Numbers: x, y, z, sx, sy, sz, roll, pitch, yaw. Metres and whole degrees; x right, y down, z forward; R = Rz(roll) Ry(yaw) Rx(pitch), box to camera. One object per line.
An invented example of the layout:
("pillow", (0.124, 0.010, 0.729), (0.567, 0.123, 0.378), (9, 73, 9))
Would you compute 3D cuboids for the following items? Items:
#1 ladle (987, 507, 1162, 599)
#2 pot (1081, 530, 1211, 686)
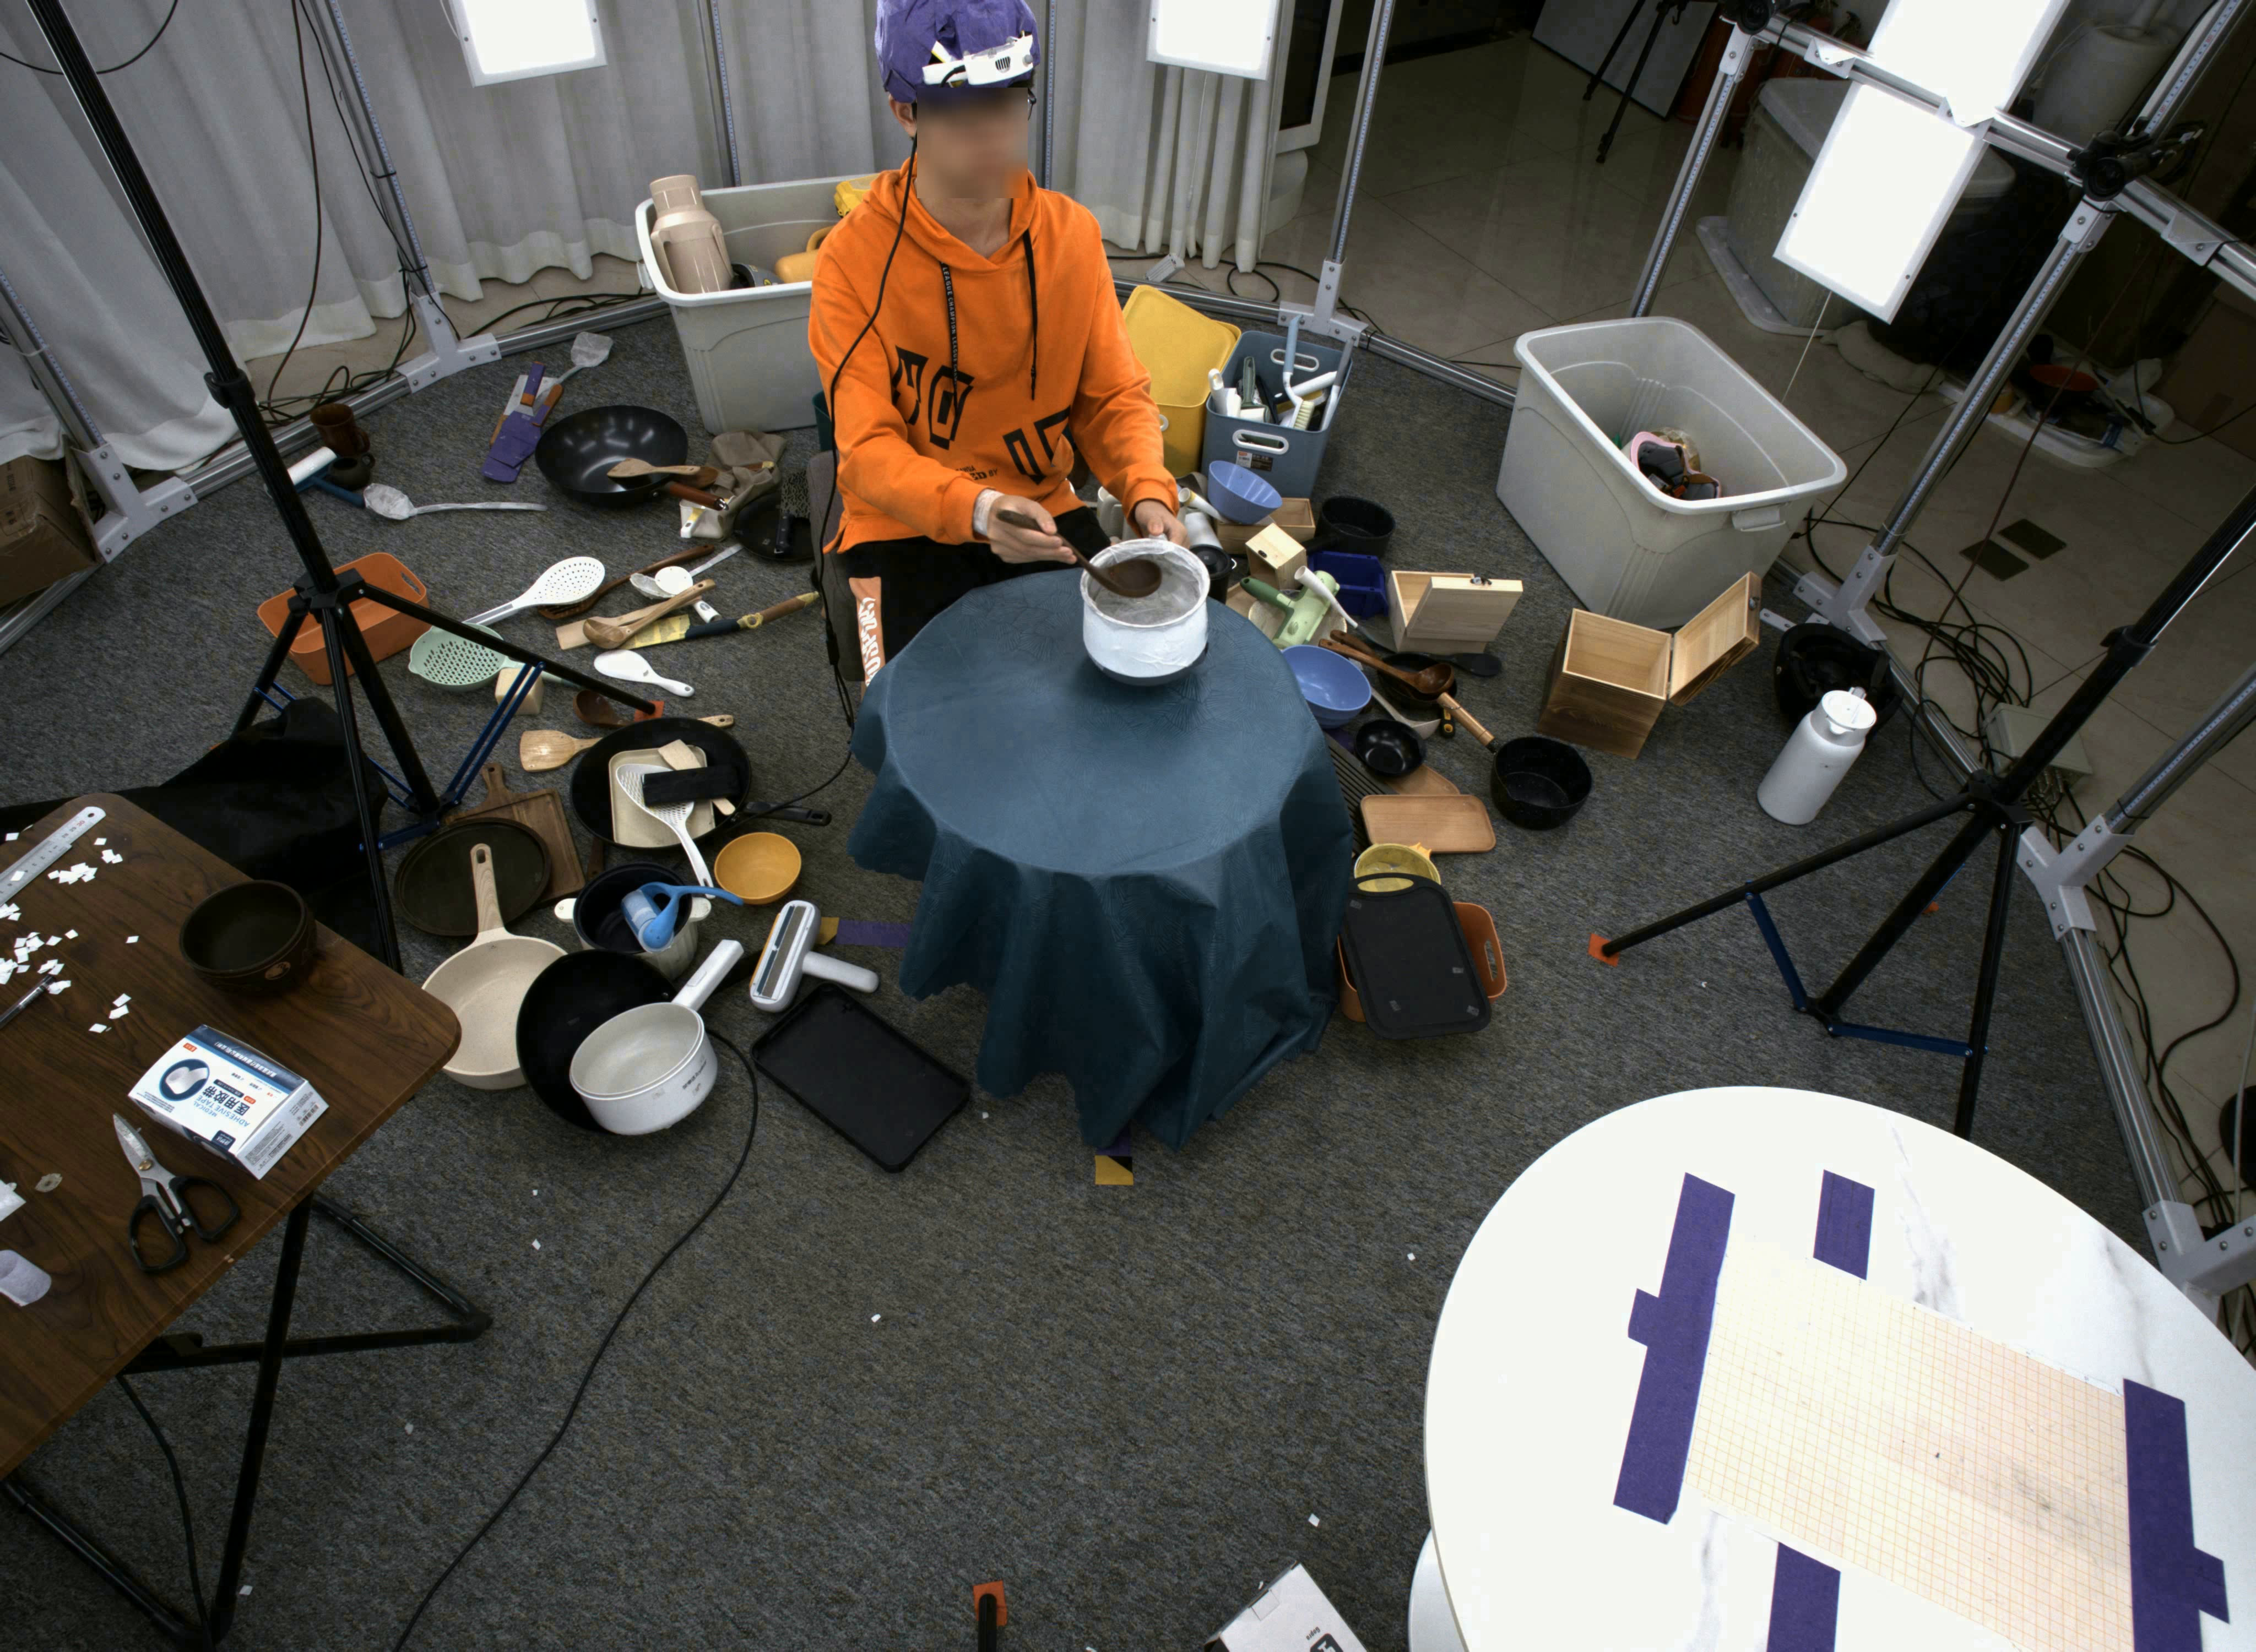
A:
("ladle", (-0.062, -0.373, 1.697), (0.270, 0.071, 0.078), (26, 22, -43))
("pot", (0.030, -0.317, 1.818), (0.179, 0.133, 0.239), (6, 52, 6))
